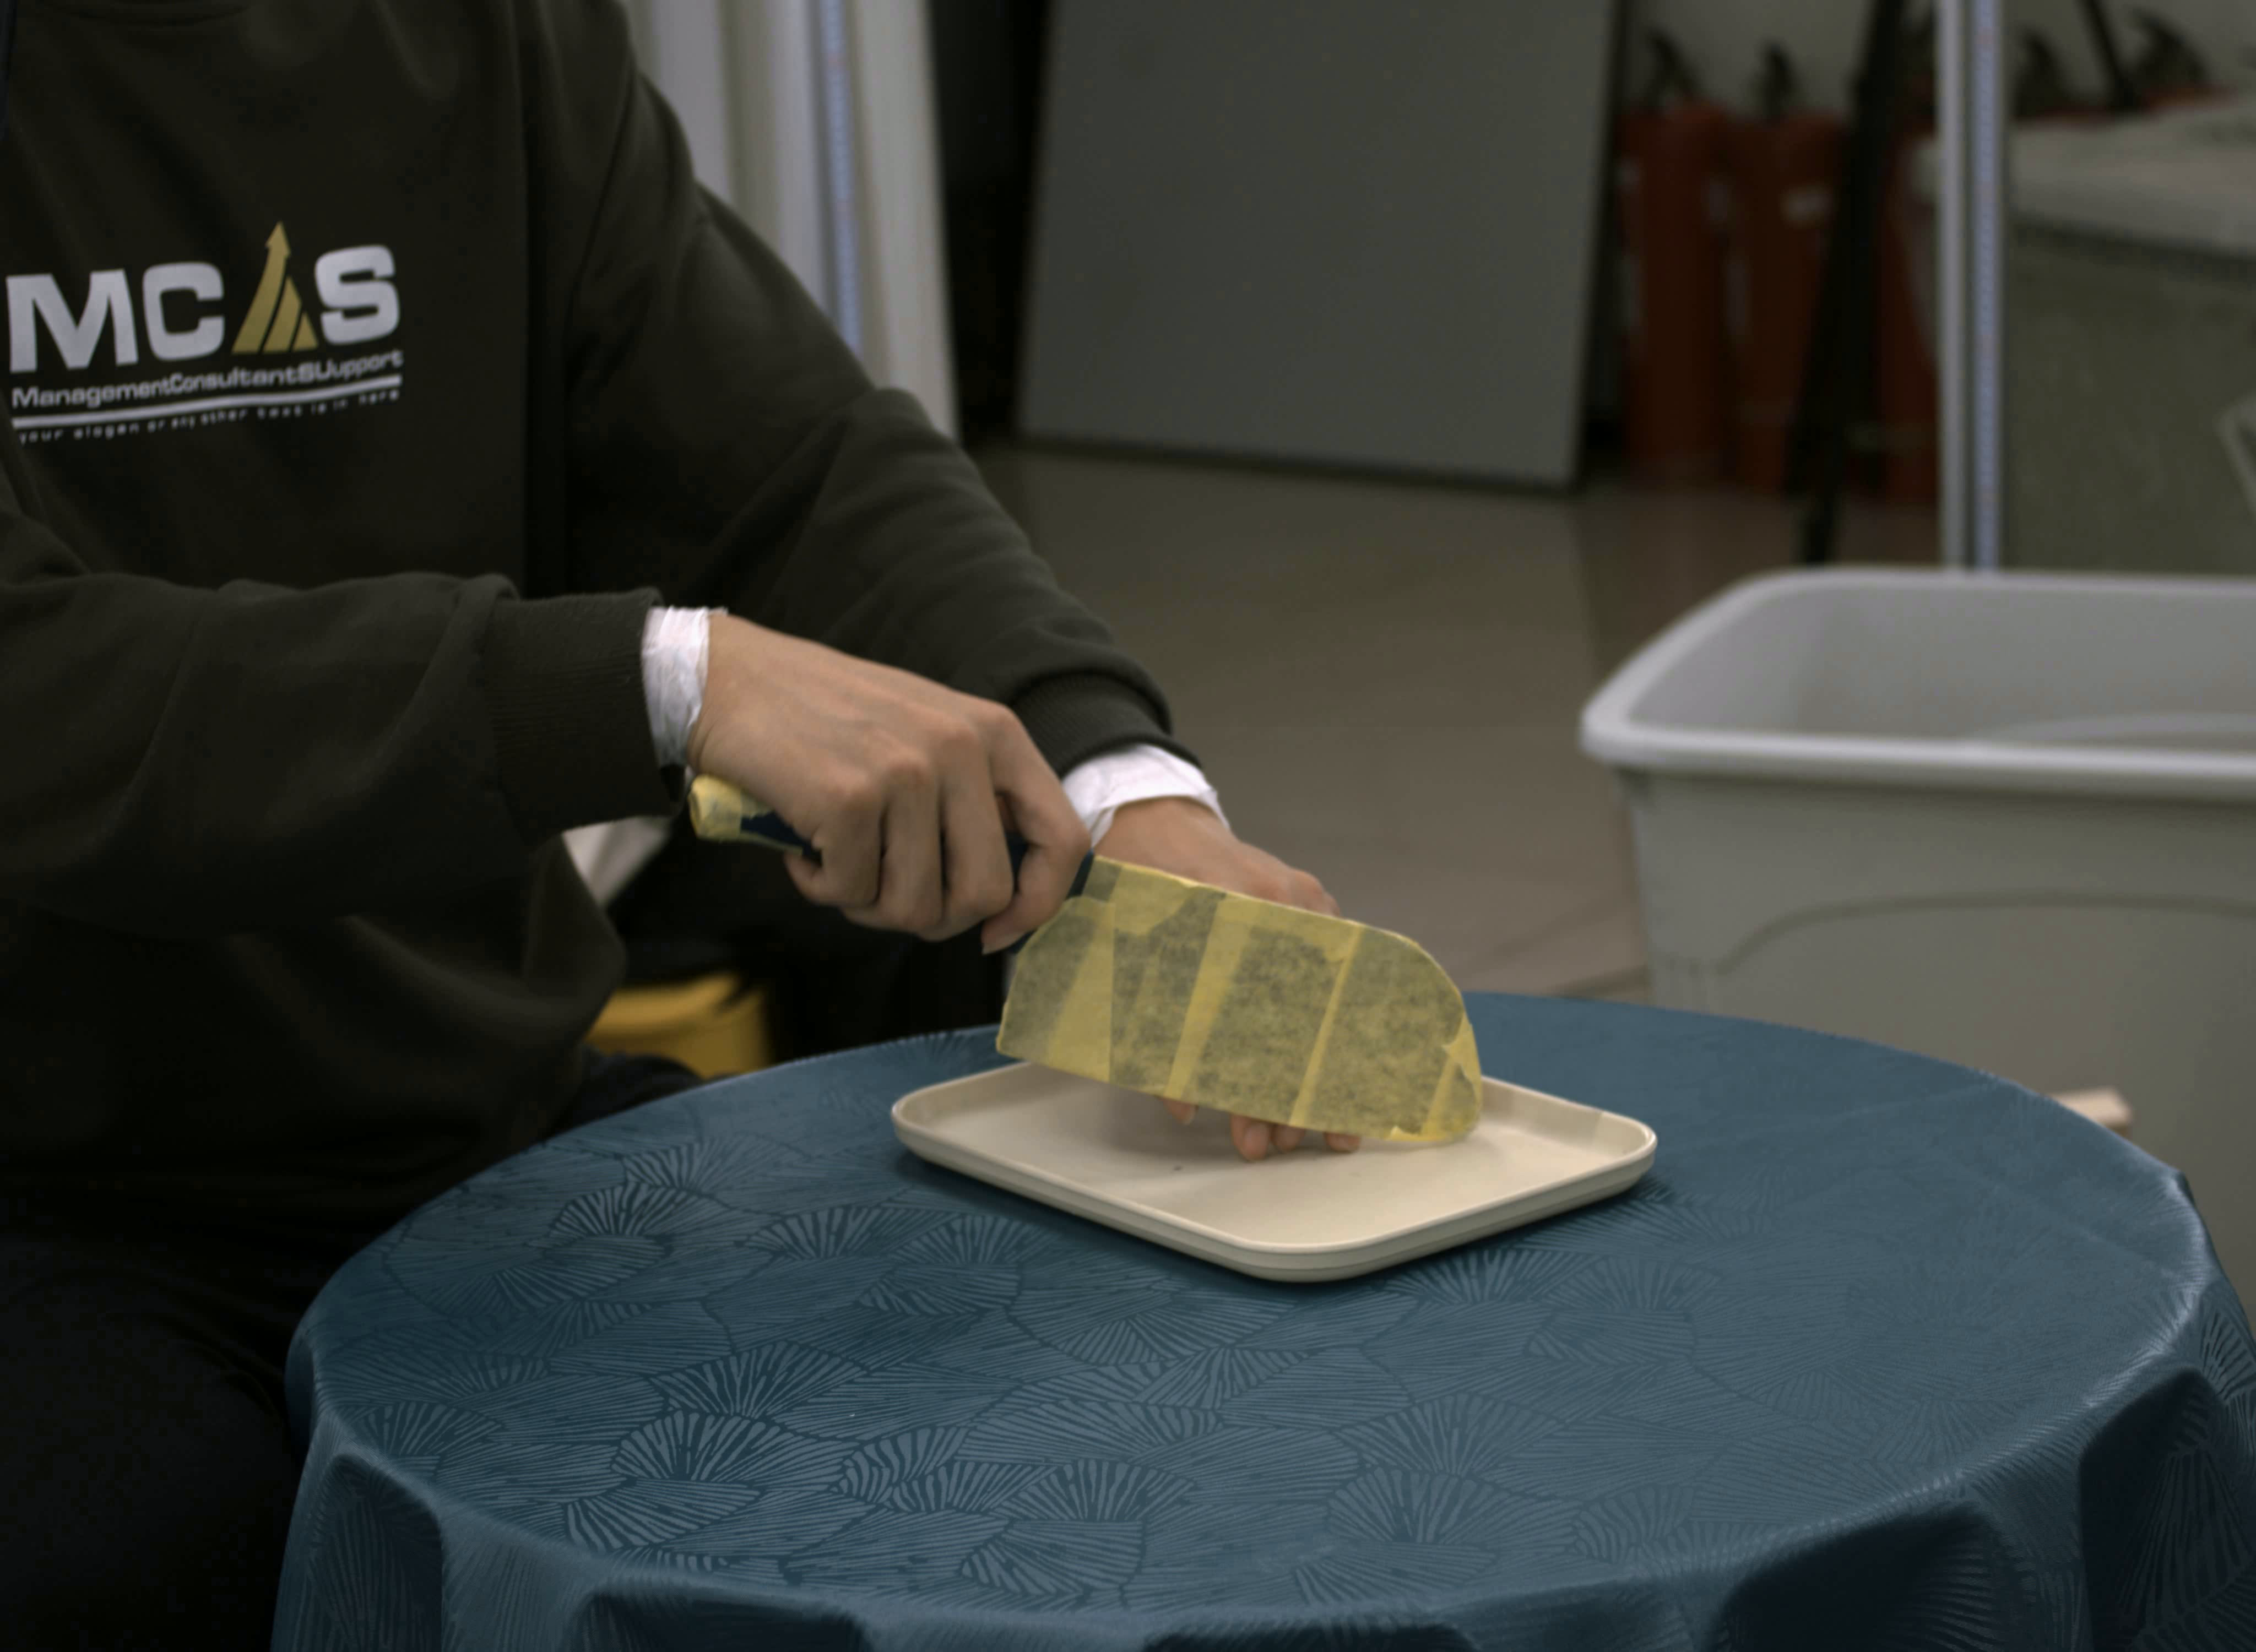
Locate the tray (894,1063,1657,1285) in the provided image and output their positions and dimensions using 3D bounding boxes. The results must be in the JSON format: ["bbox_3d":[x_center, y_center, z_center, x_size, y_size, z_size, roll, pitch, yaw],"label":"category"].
[{"bbox_3d":[0.047,0.107,1.784,0.167,0.017,0.242,-14,16,-35],"label":"tray"}]

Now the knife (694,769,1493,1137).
[{"bbox_3d":[-0.011,0.042,1.756,0.285,0.082,0.027,19,5,-12],"label":"knife"}]
